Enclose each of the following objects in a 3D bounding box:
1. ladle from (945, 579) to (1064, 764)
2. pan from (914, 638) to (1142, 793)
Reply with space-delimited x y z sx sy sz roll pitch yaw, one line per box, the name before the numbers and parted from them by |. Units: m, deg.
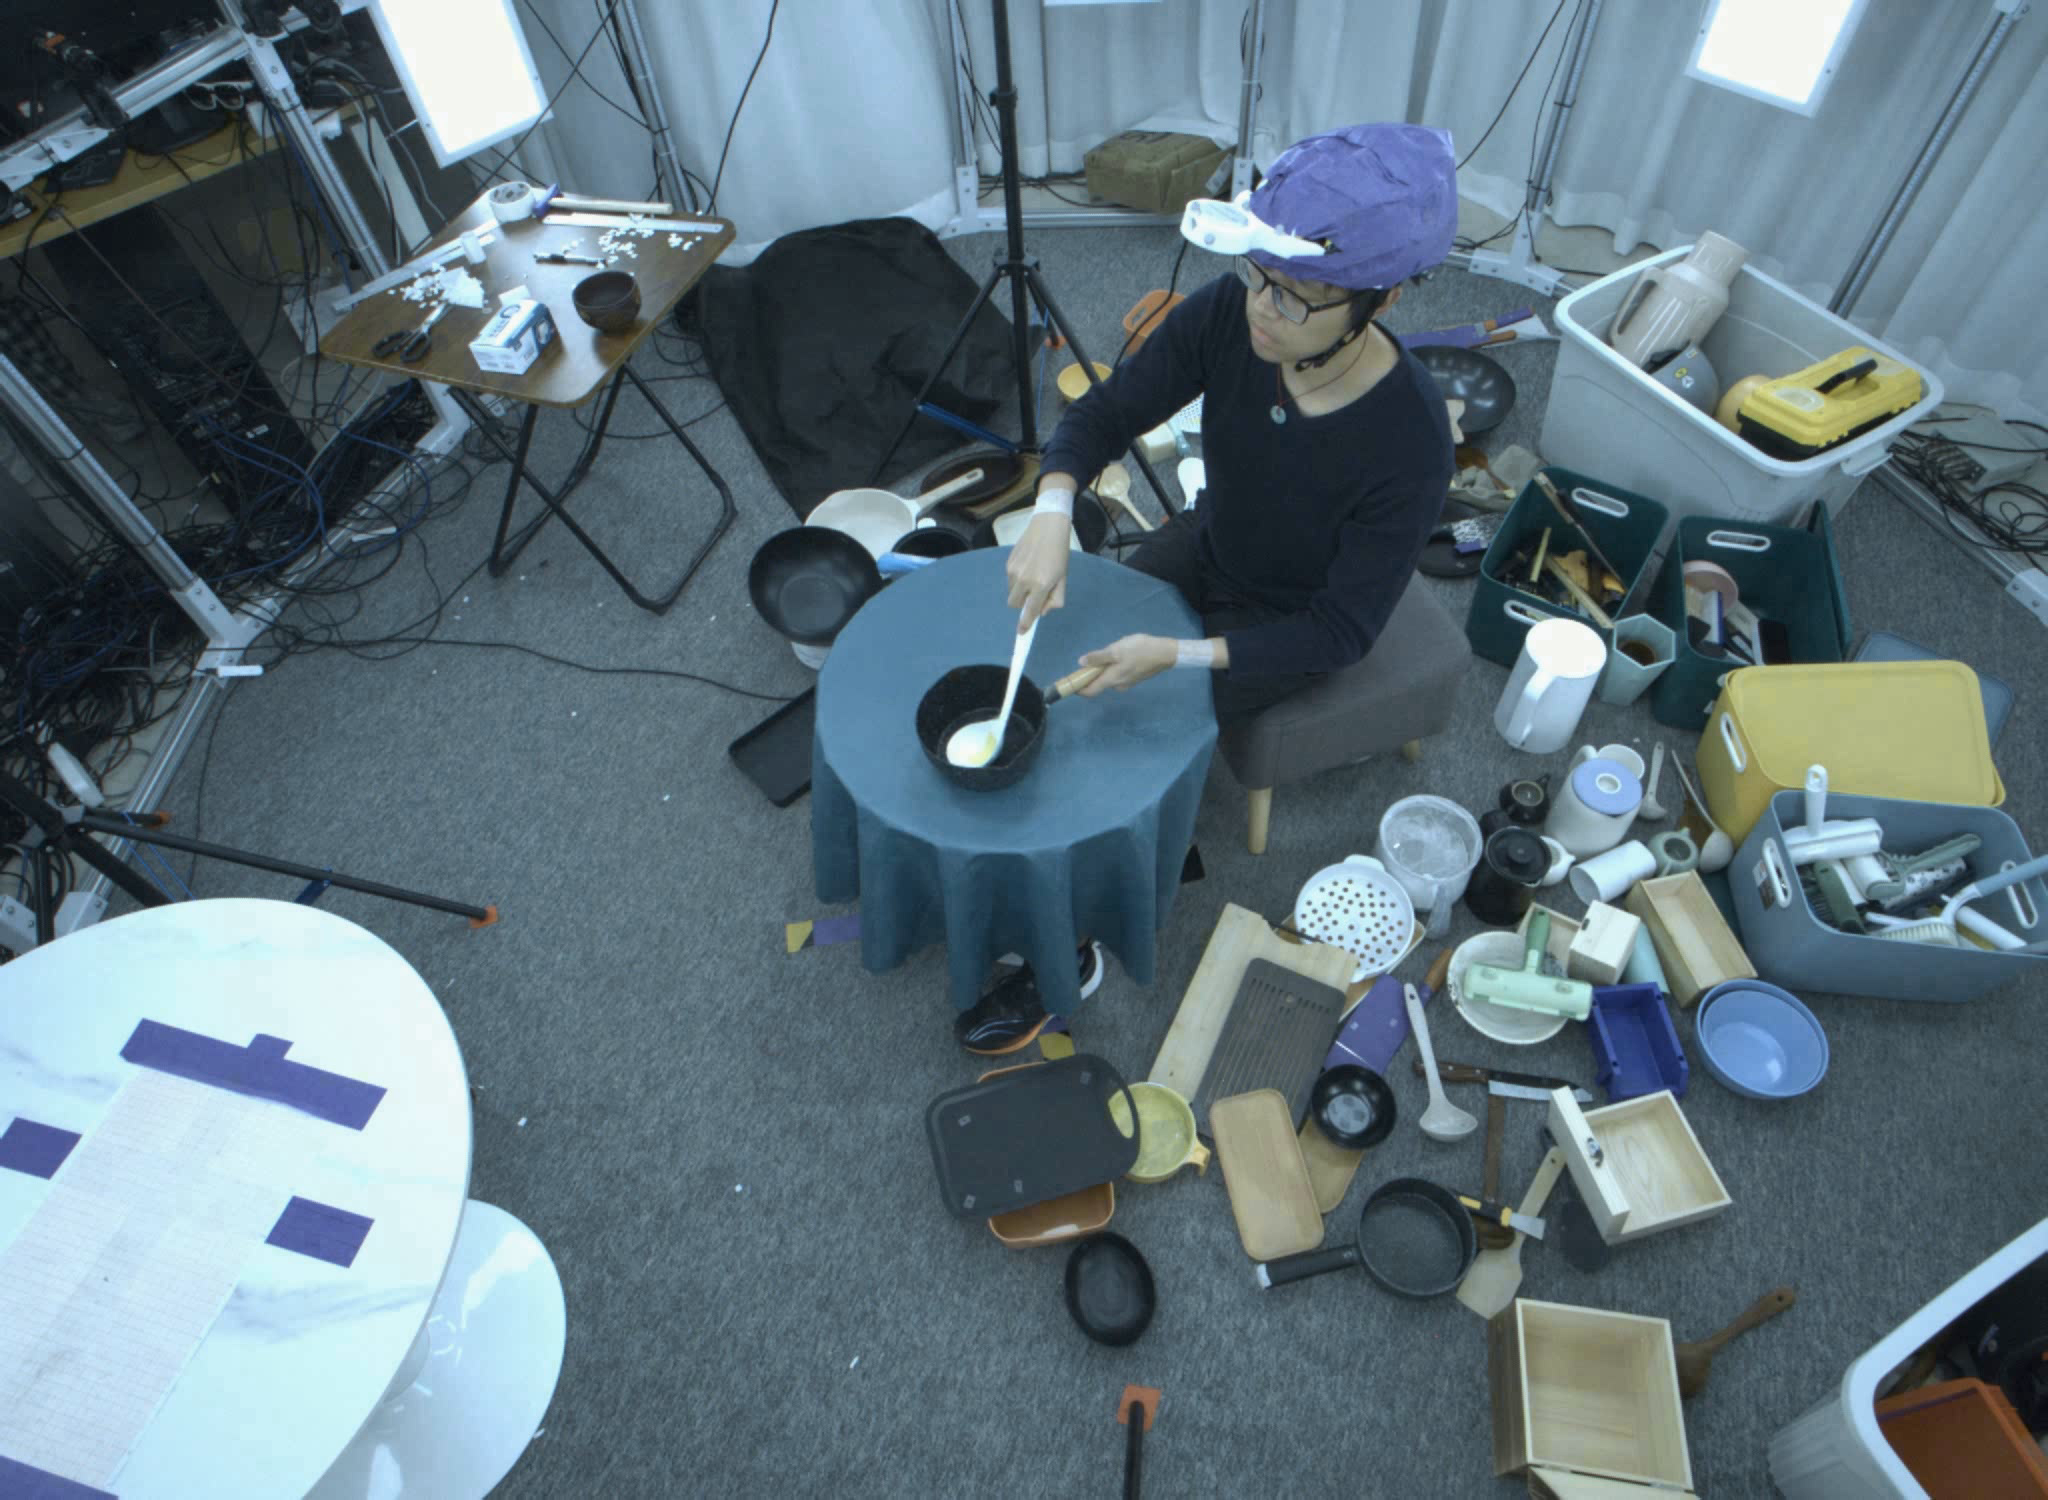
ladle | -0.029 -0.107 1.719 0.071 0.293 0.088 11 25 -29
pan | 0.013 -0.062 1.757 0.344 0.109 0.203 -24 55 -9
